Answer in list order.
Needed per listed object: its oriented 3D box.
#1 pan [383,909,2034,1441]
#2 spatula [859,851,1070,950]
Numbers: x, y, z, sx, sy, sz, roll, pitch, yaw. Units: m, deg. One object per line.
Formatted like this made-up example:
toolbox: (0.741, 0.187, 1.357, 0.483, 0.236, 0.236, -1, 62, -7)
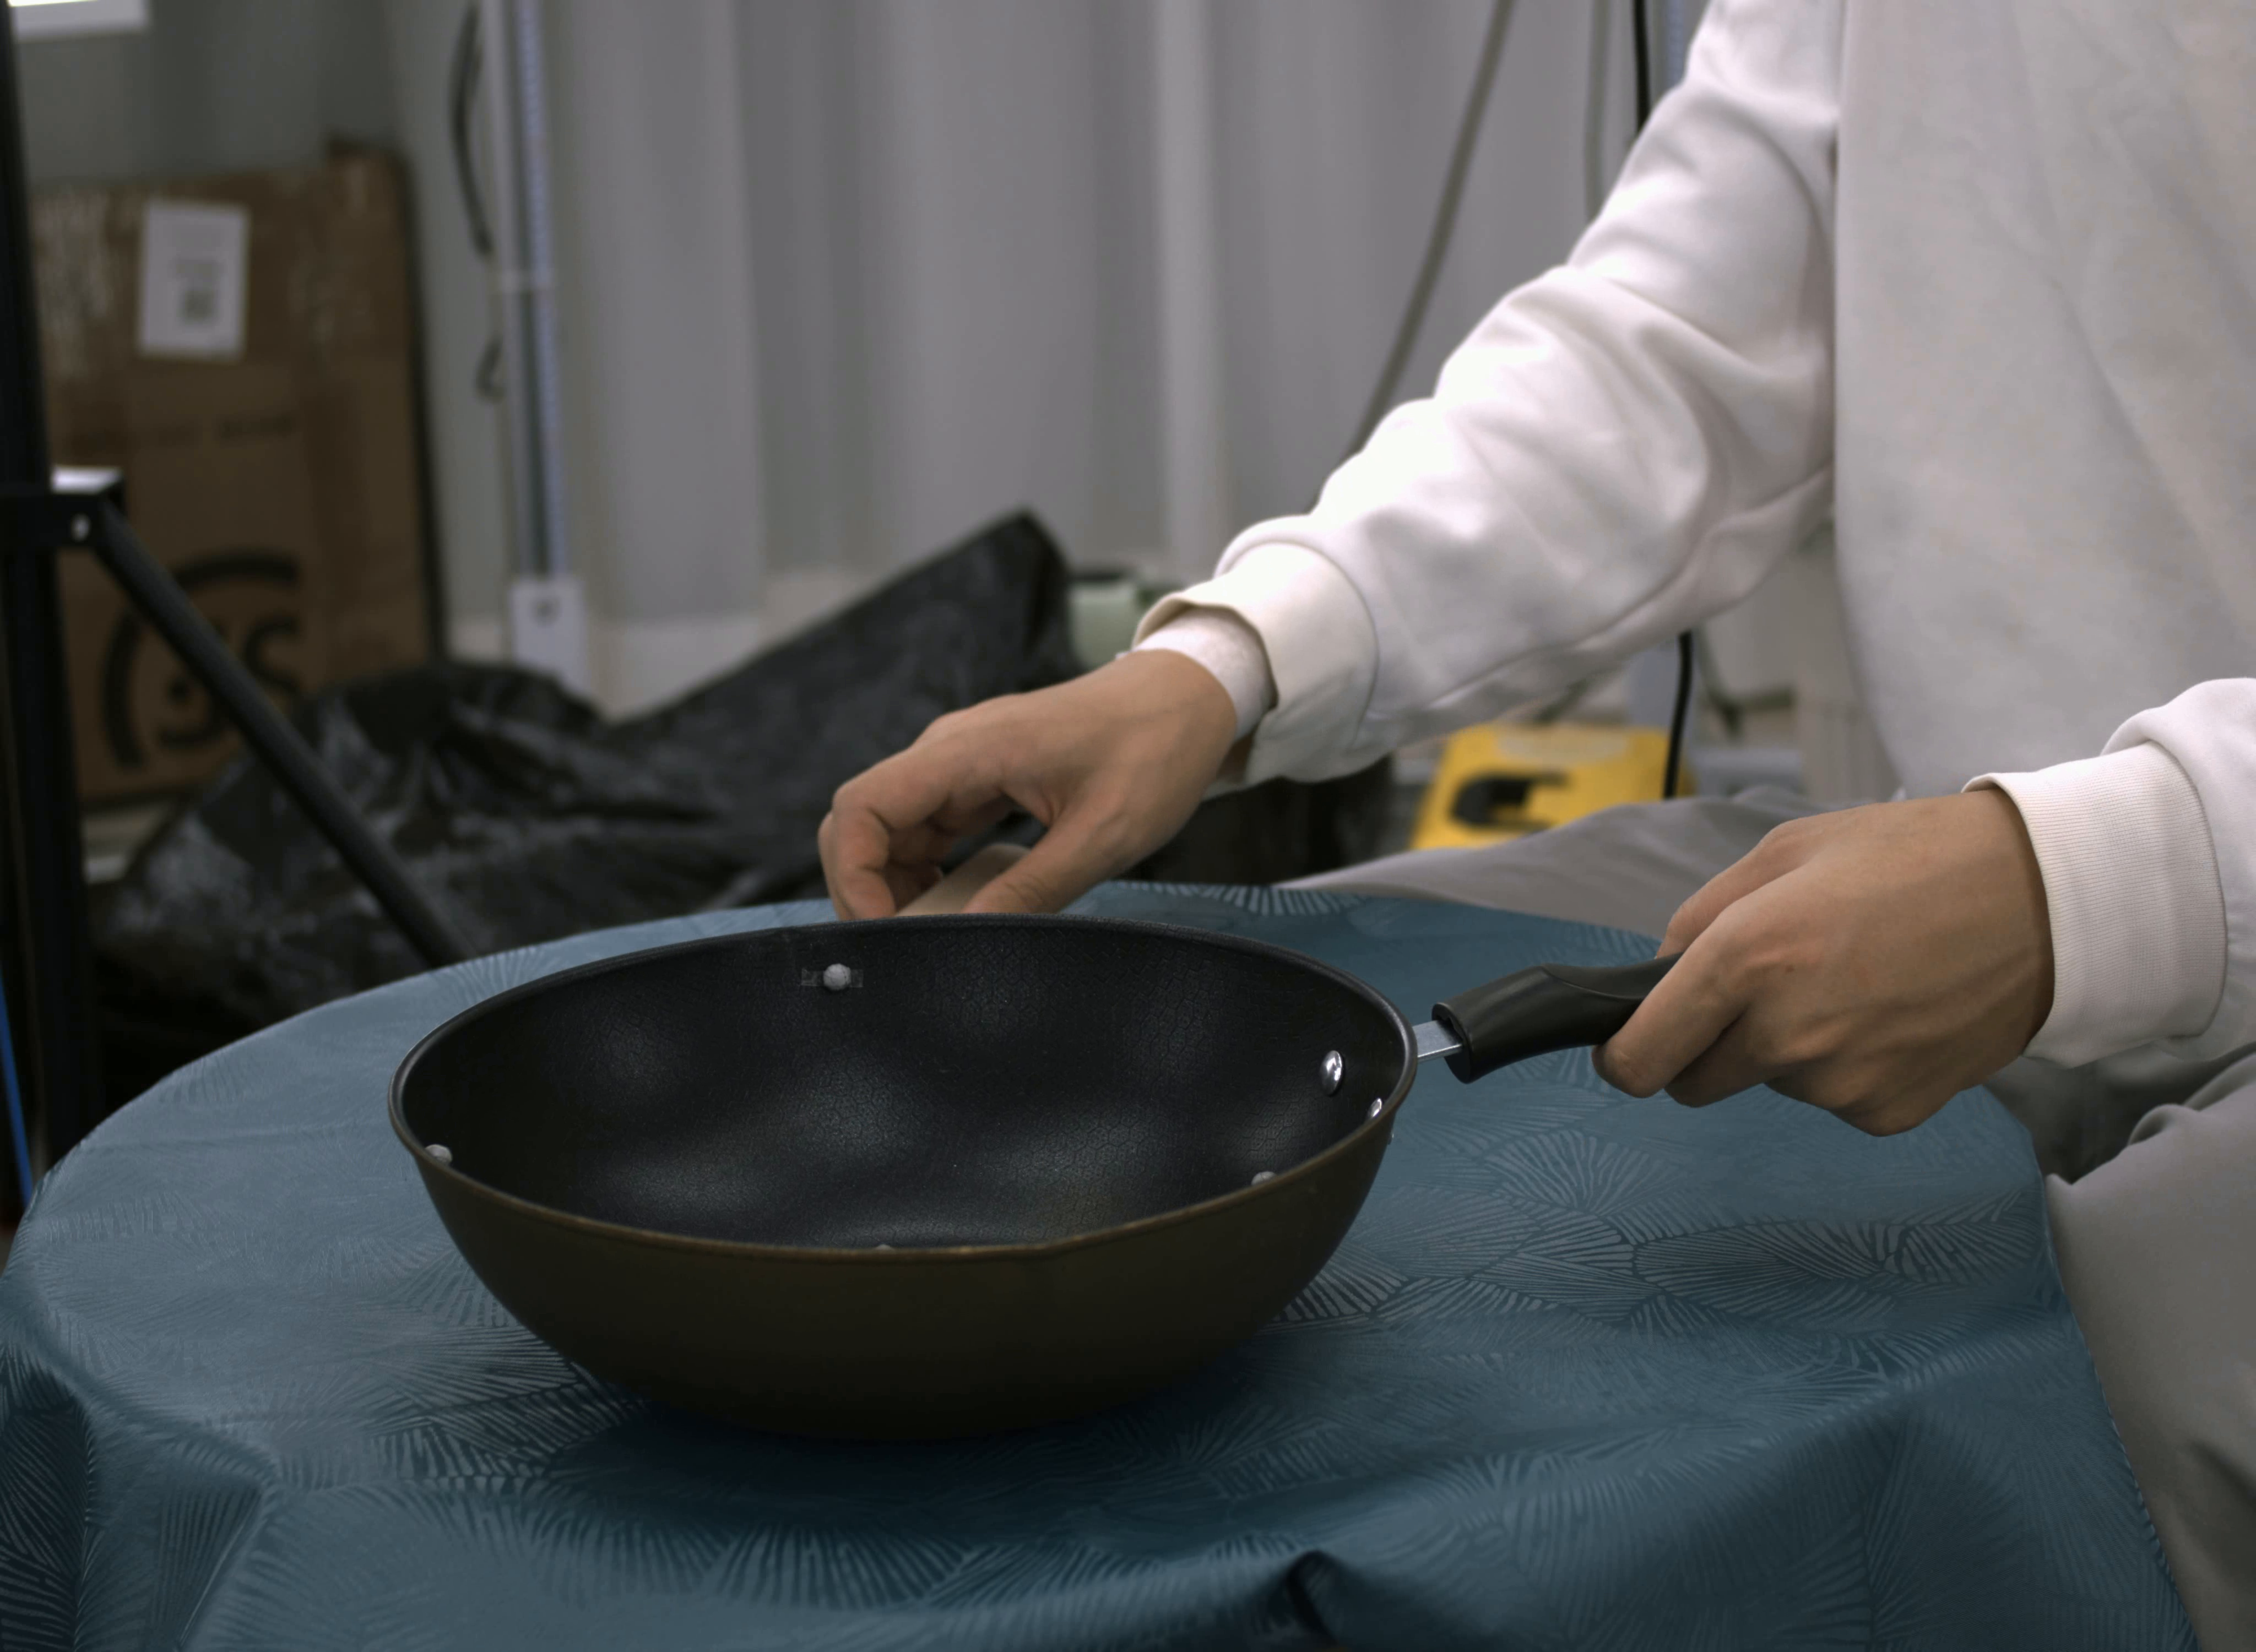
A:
pan: (0.028, 0.091, 1.458, 0.457, 0.087, 0.292, -5, 16, -12)
spatula: (-0.091, 0.057, 1.703, 0.073, 0.010, 0.289, 16, 24, 20)
